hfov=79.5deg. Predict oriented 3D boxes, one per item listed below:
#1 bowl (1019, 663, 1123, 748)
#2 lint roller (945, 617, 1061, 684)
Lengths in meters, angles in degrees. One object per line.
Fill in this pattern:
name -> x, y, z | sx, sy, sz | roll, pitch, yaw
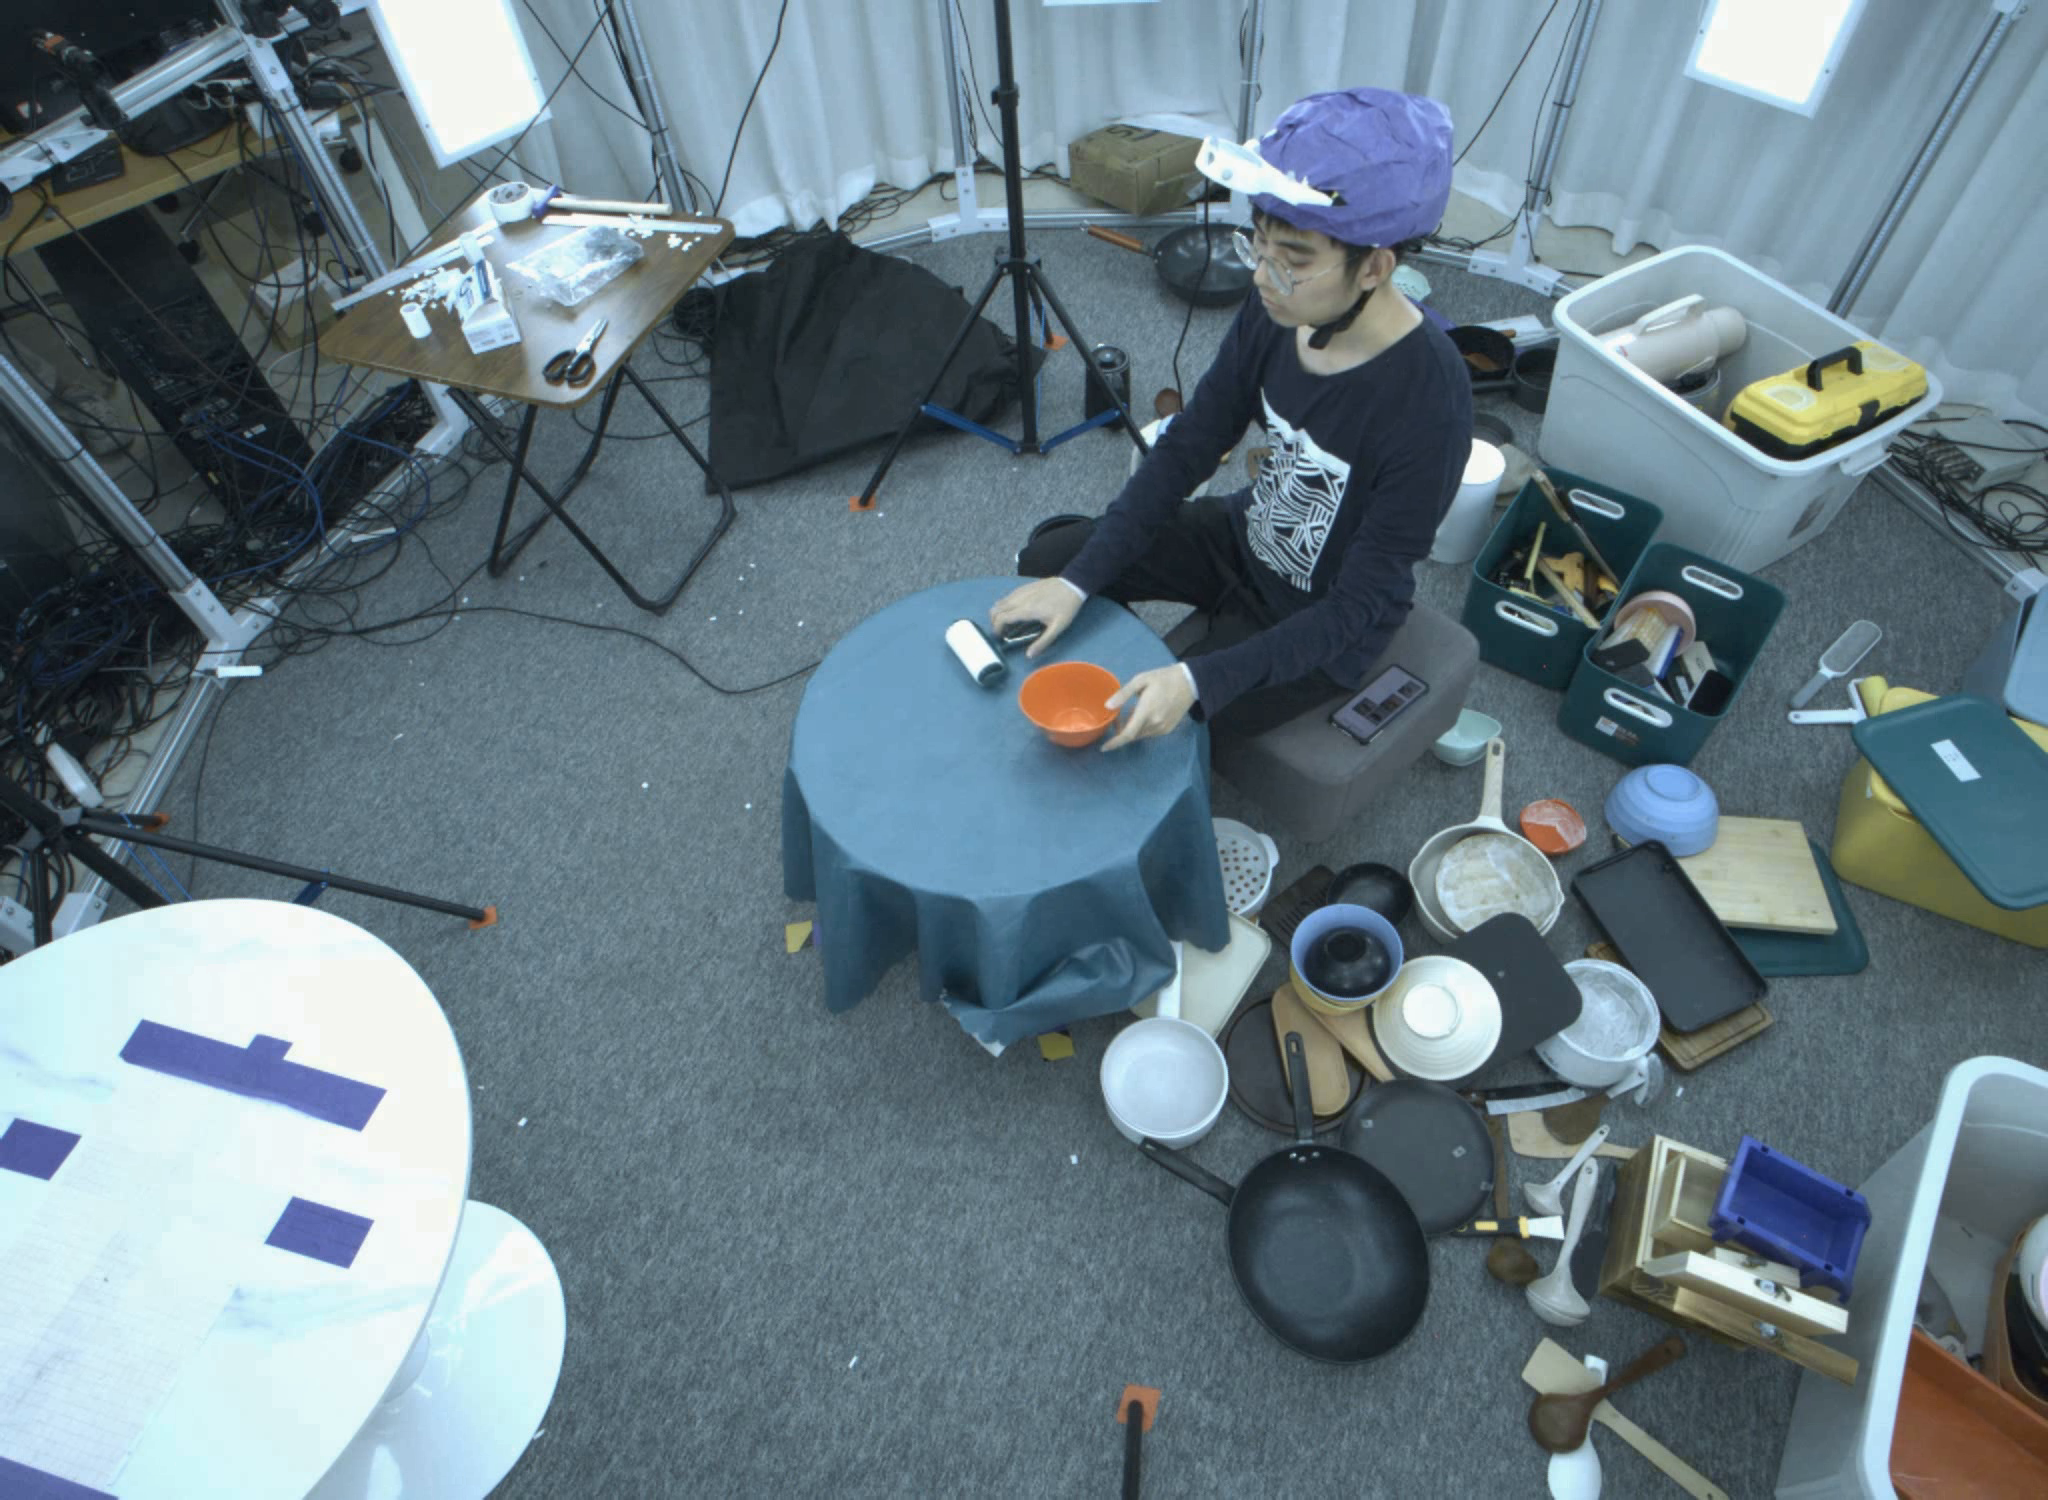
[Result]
bowl -> 0.067, -0.051, 1.770 | 0.148, 0.105, 0.146 | 1, 53, 0
lint roller -> -0.020, -0.177, 1.898 | 0.182, 0.049, 0.132 | -25, 58, -20
